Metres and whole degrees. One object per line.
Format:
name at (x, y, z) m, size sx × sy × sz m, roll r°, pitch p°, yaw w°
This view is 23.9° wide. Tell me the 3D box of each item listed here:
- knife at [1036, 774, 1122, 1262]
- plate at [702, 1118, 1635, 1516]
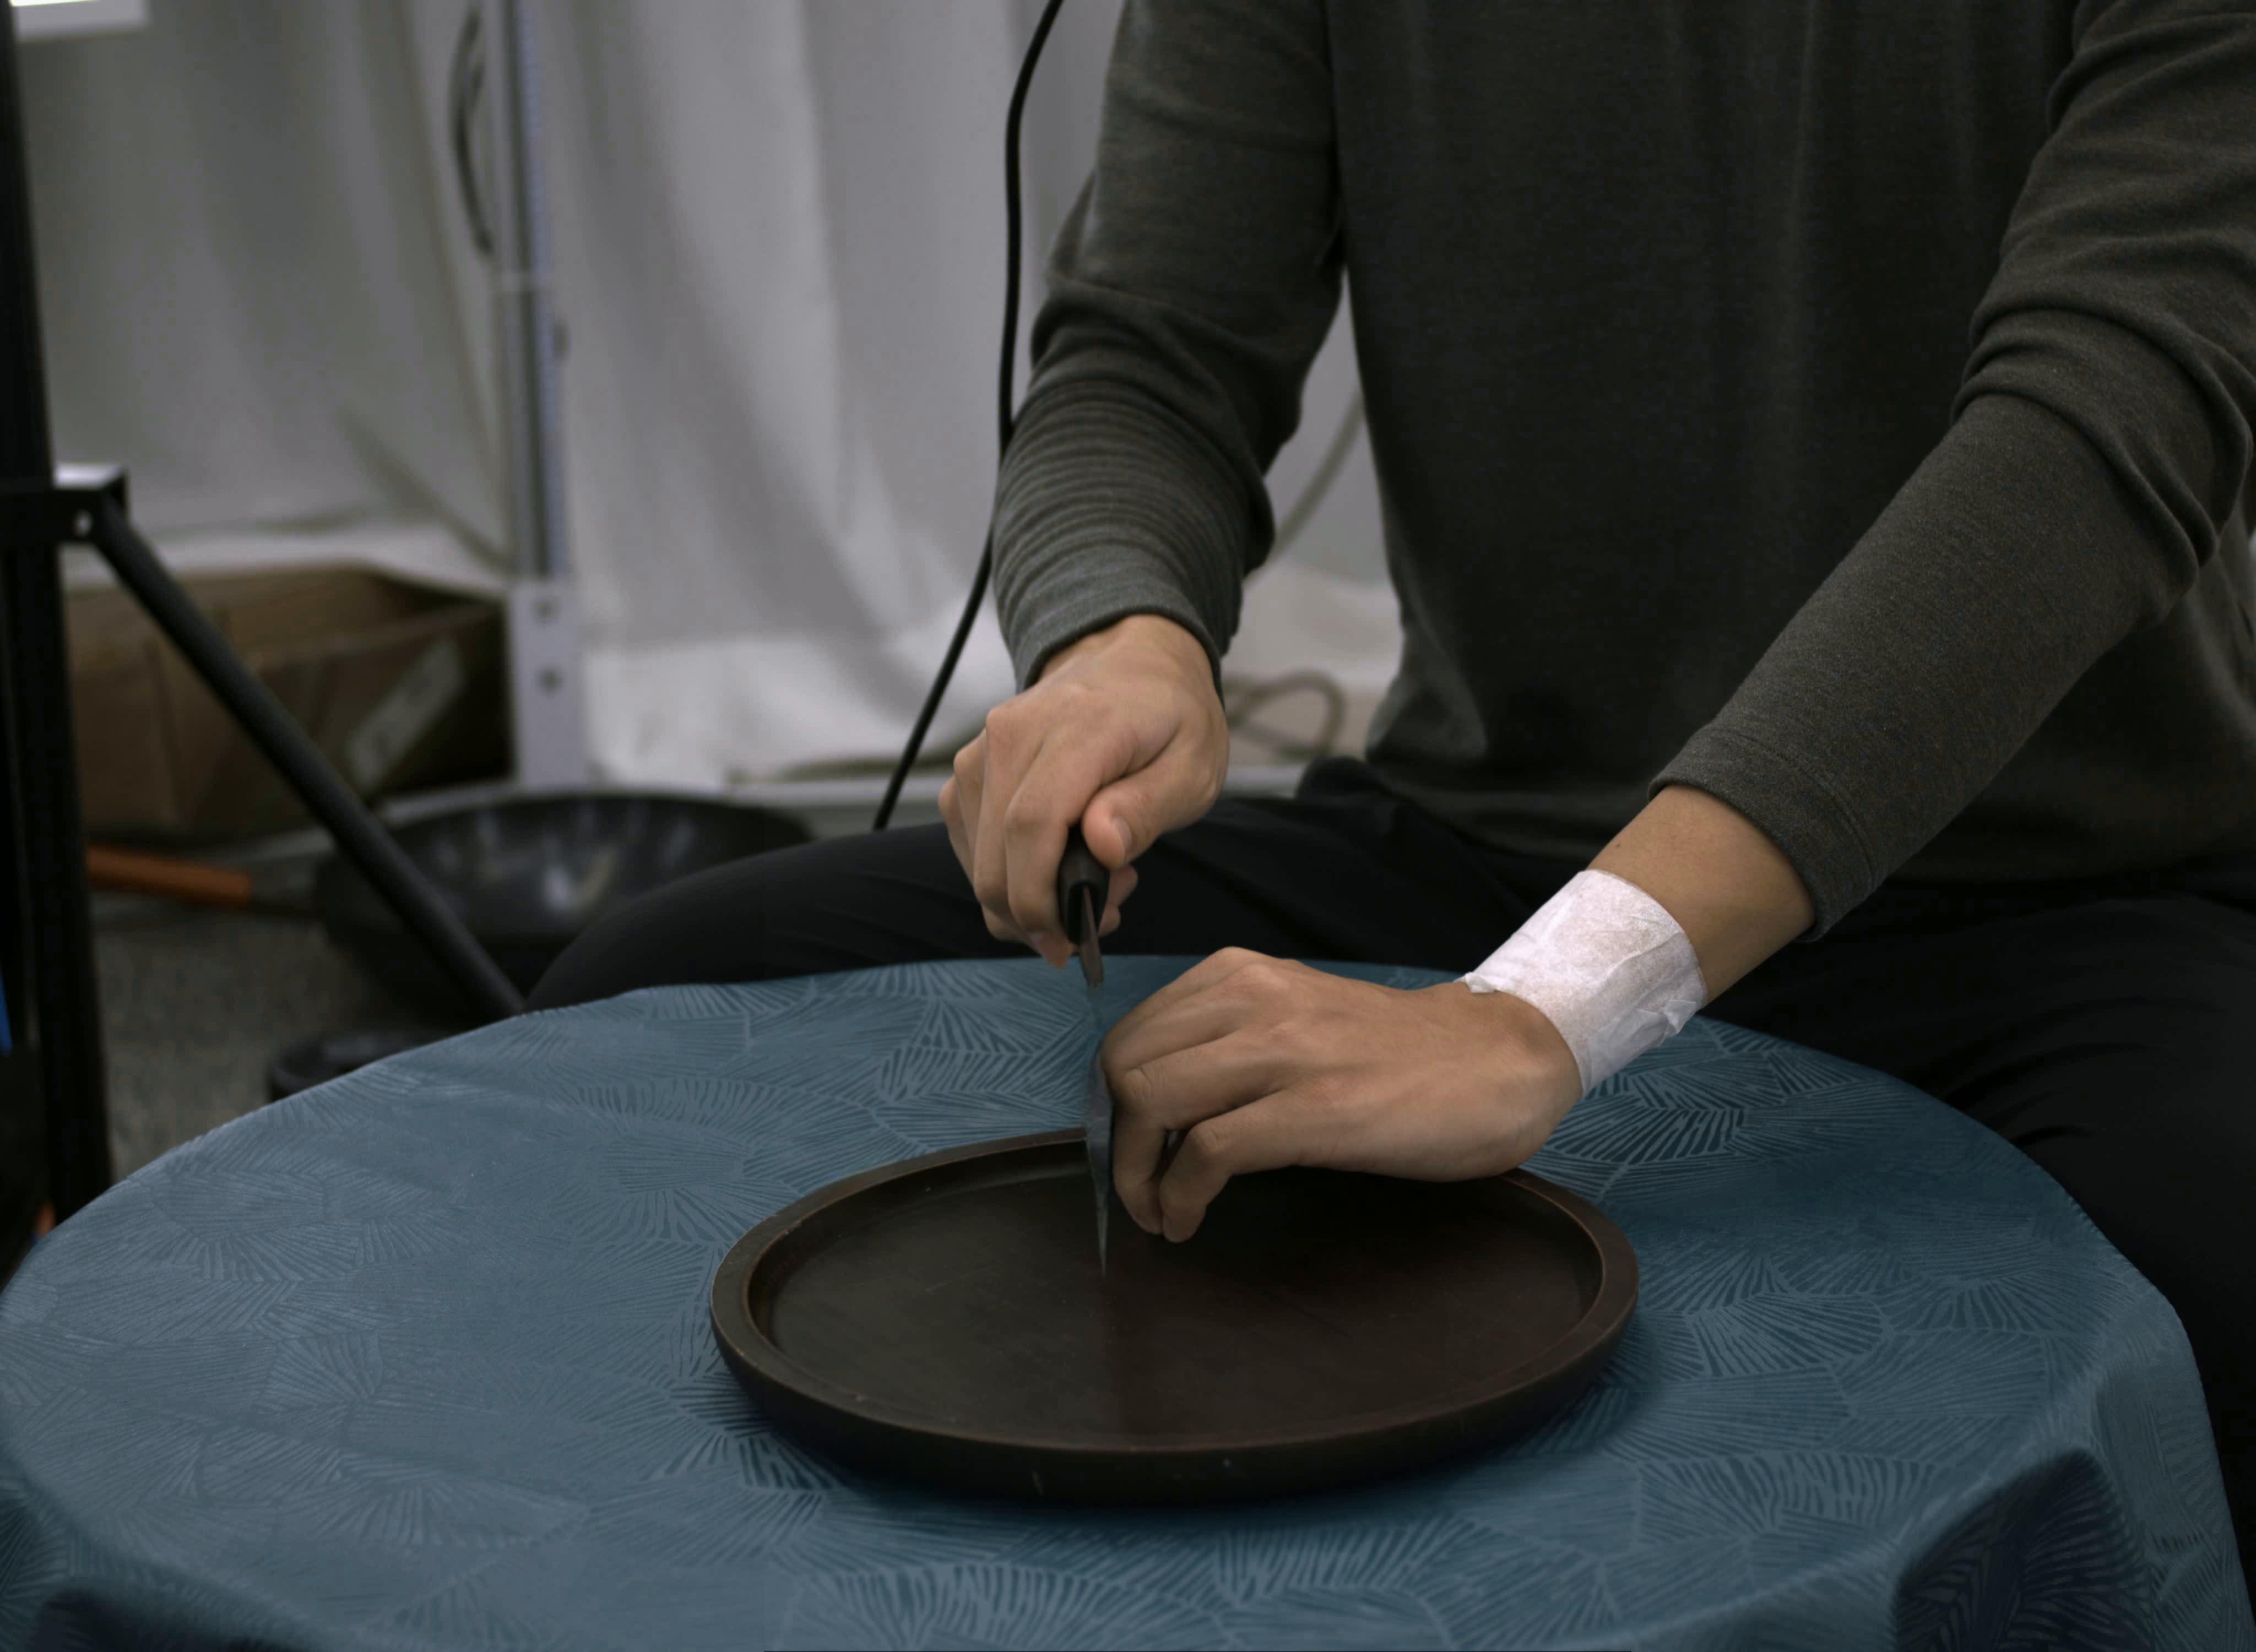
knife at (-0.011, 0.045, 1.496) m, size 0.020 × 0.081 × 0.304 m, roll 3°, pitch 18°, yaw -4°
plate at (0.012, 0.130, 1.440) m, size 0.253 × 0.029 × 0.256 m, roll -4°, pitch 16°, yaw 0°
